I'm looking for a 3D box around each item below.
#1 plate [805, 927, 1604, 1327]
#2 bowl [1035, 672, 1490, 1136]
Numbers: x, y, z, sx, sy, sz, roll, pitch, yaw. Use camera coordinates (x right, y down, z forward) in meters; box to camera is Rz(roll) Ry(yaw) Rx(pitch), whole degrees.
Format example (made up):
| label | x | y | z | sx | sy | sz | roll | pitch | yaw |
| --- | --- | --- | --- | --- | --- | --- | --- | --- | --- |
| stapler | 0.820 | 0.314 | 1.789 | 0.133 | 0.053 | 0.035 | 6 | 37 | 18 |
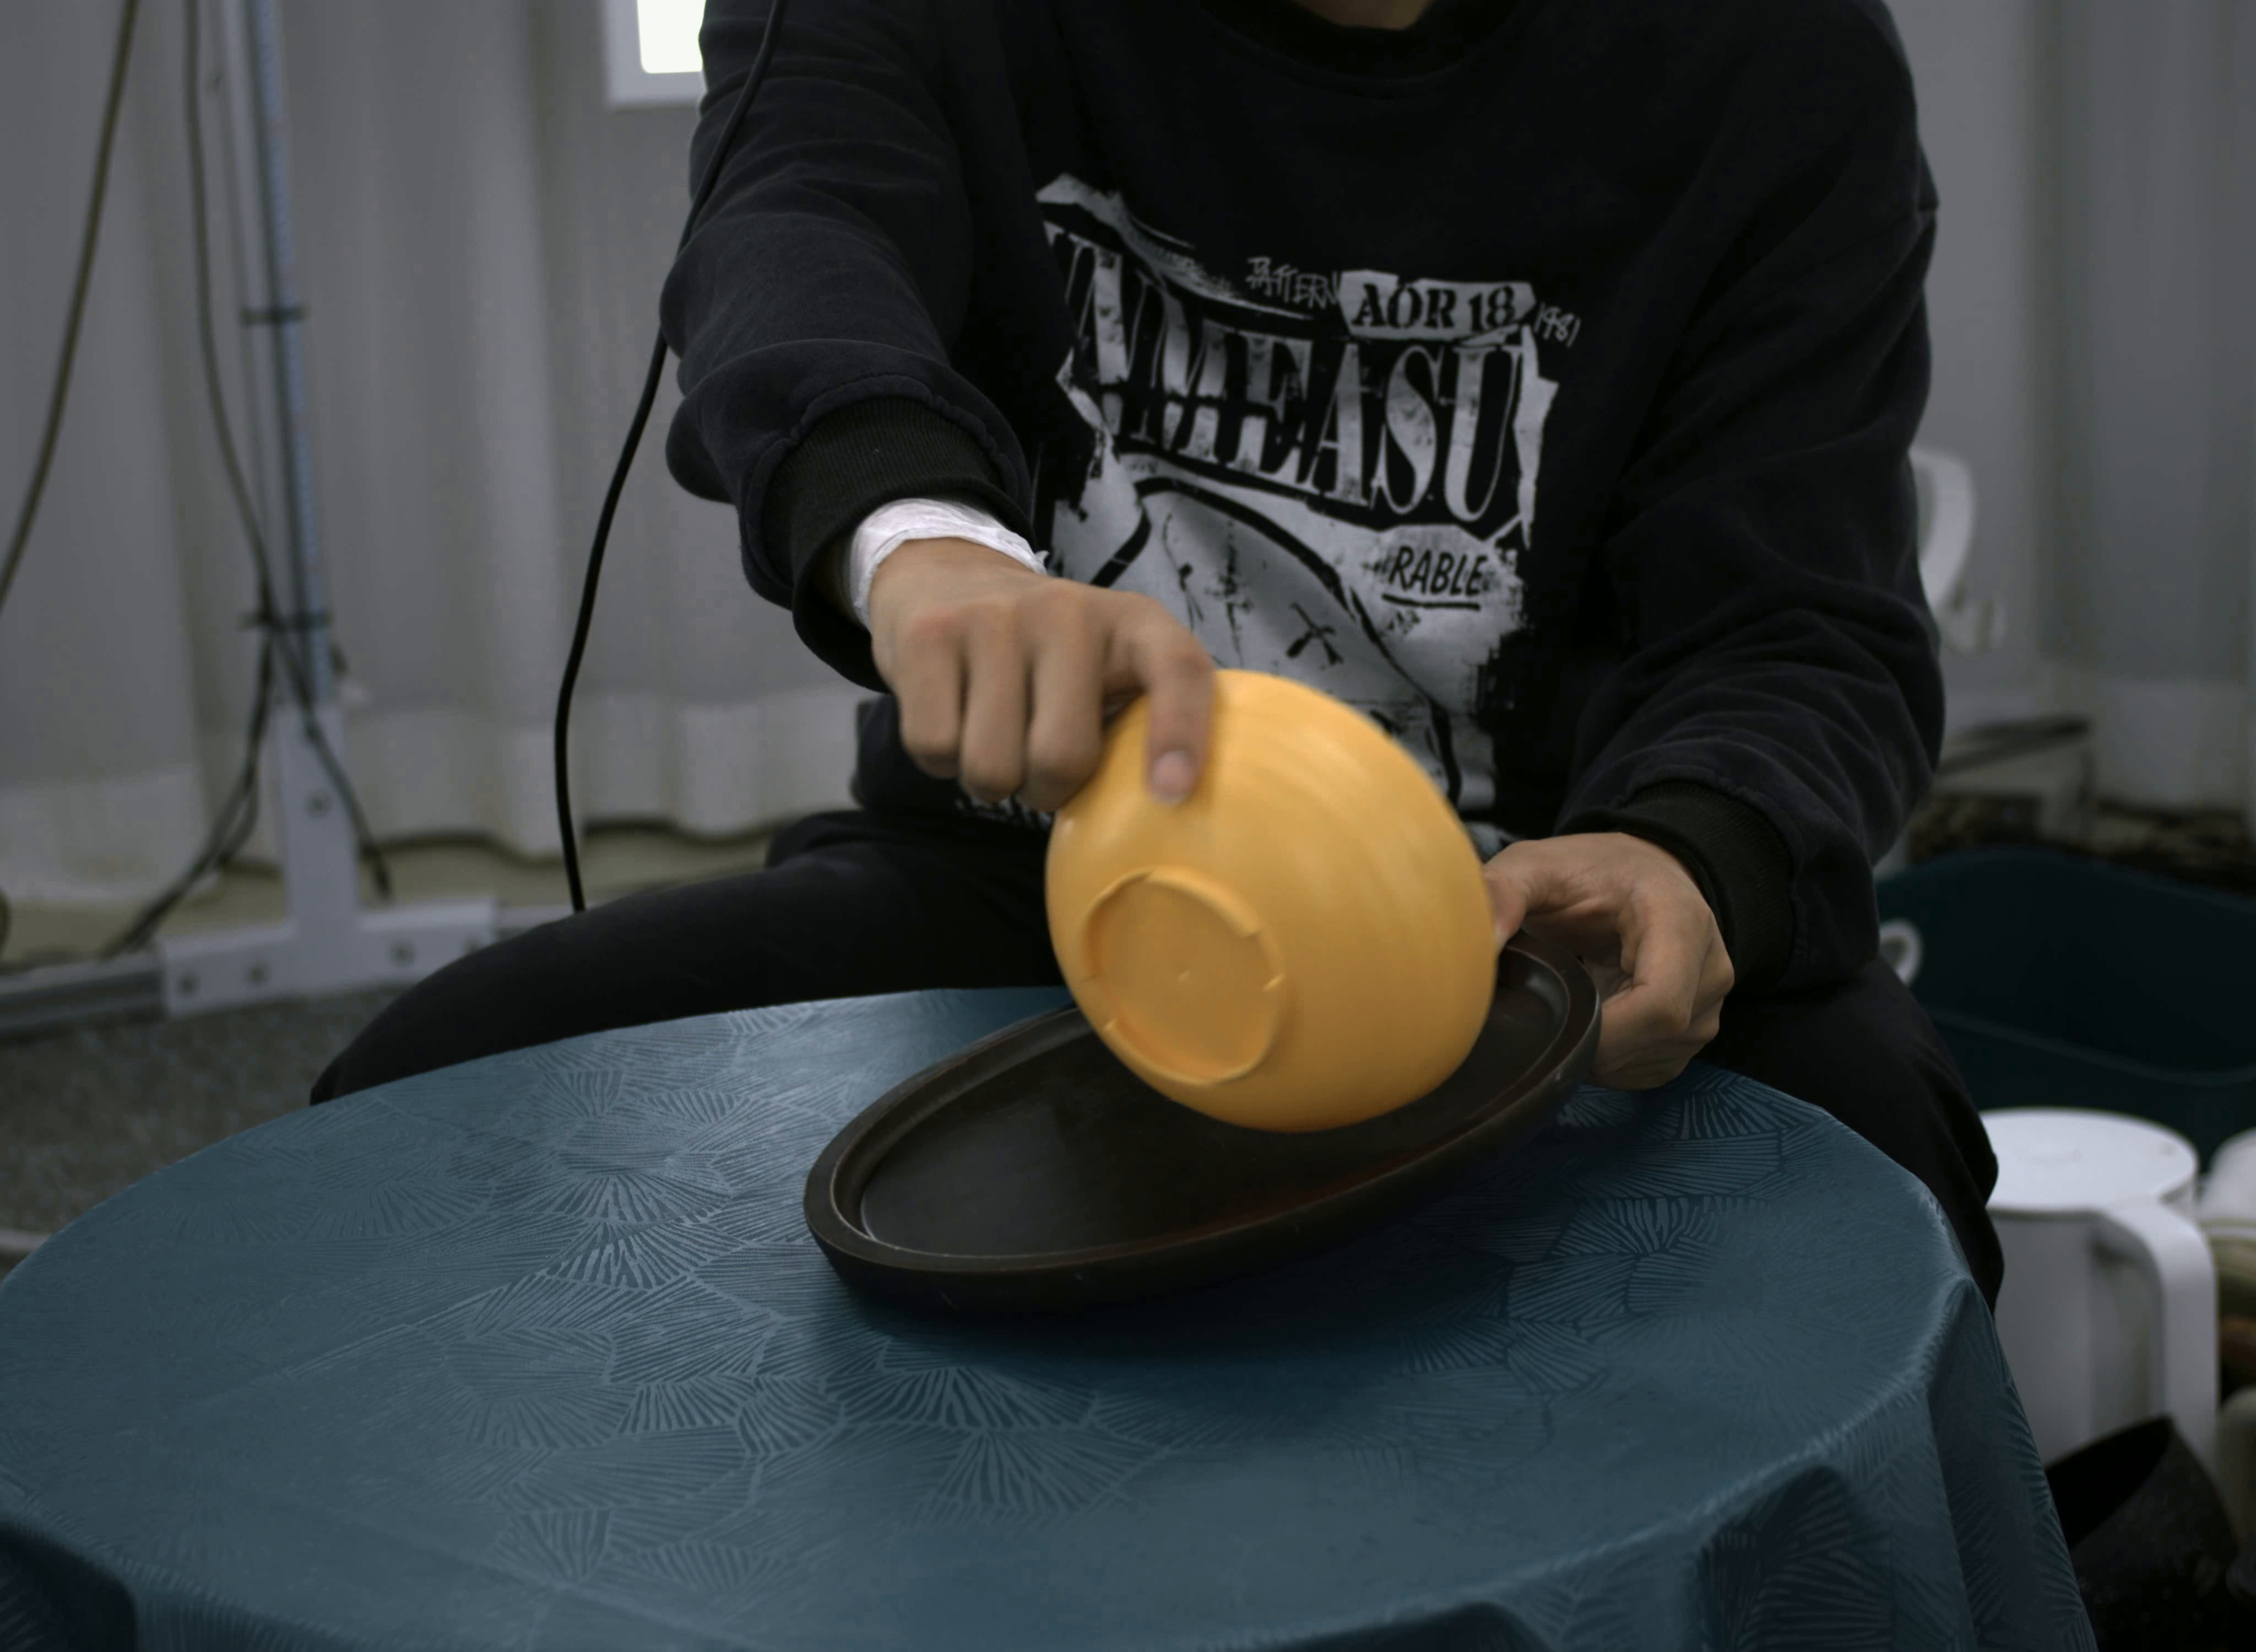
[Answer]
| label | x | y | z | sx | sy | sz | roll | pitch | yaw |
| --- | --- | --- | --- | --- | --- | --- | --- | --- | --- |
| plate | 0.024 | 0.090 | 1.668 | 0.254 | 0.029 | 0.256 | -16 | 15 | 4 |
| bowl | 0.027 | 0.033 | 1.563 | 0.146 | 0.144 | 0.060 | 7 | 28 | 32 |
